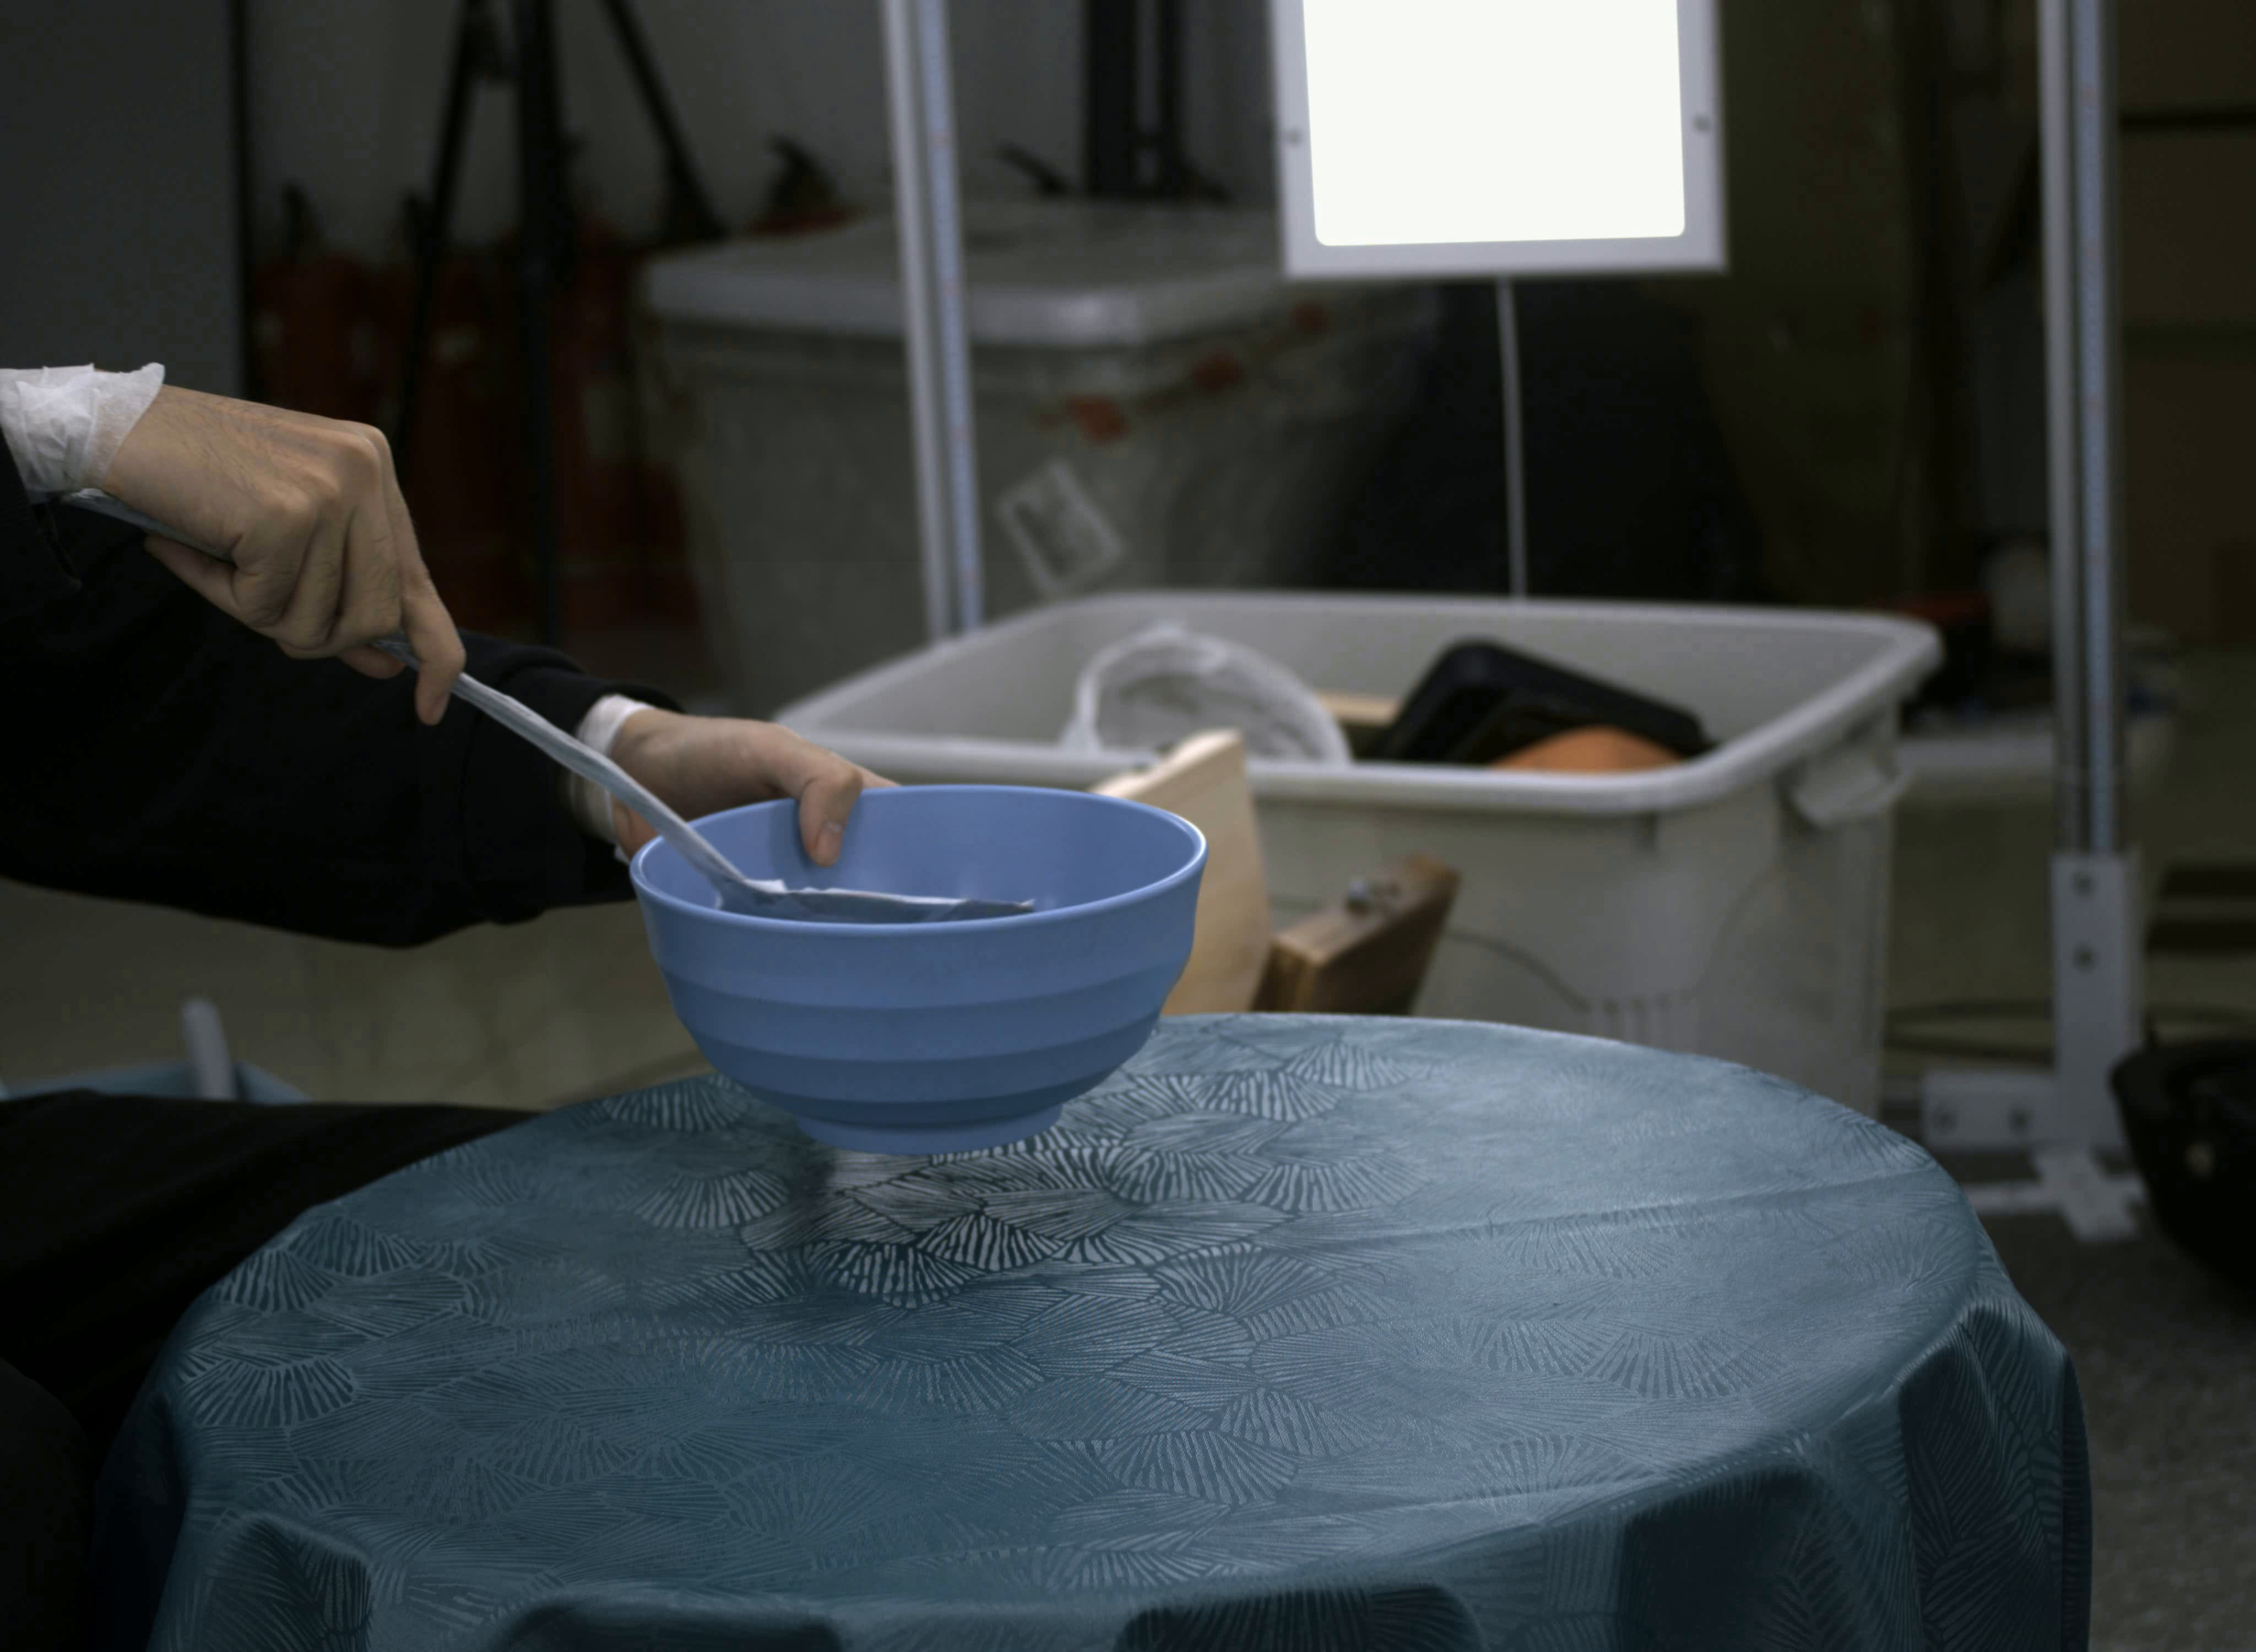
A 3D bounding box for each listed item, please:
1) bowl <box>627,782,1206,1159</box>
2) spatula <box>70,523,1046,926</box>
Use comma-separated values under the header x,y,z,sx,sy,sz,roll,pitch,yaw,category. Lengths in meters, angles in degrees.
x,y,z,sx,sy,sz,roll,pitch,yaw,category
-0.069,0.054,1.872,0.196,0.096,0.196,-4,15,0,bowl
-0.187,-0.031,1.838,0.359,0.044,0.101,32,-23,-26,spatula
